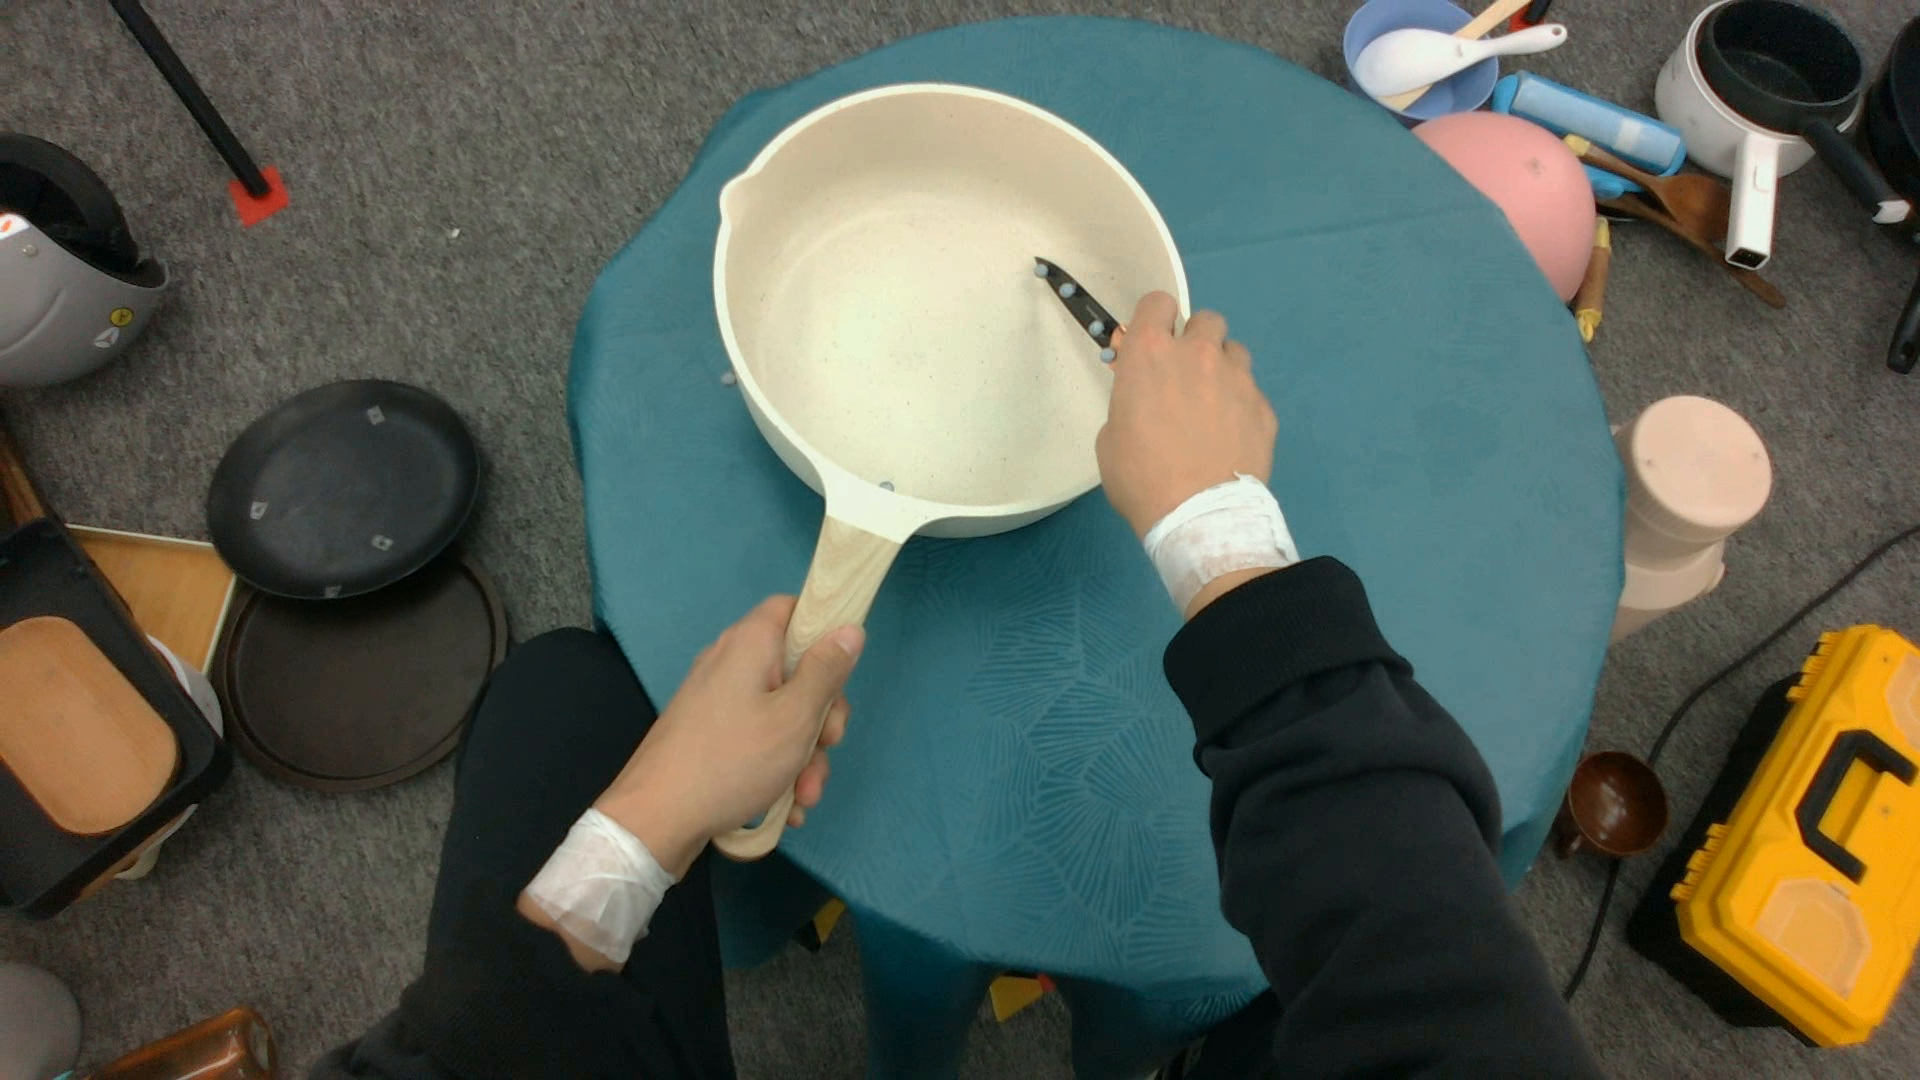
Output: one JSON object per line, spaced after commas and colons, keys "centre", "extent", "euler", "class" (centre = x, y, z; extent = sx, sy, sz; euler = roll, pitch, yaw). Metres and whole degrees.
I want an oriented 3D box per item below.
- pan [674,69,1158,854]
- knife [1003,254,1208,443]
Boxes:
{"centre": [-0.053, -0.047, 0.707], "extent": [0.263, 0.101, 0.436], "euler": [21, 67, -6], "class": "pan"}
{"centre": [0.070, -0.113, 0.739], "extent": [0.017, 0.026, 0.226], "euler": [-17, 40, -16], "class": "knife"}
